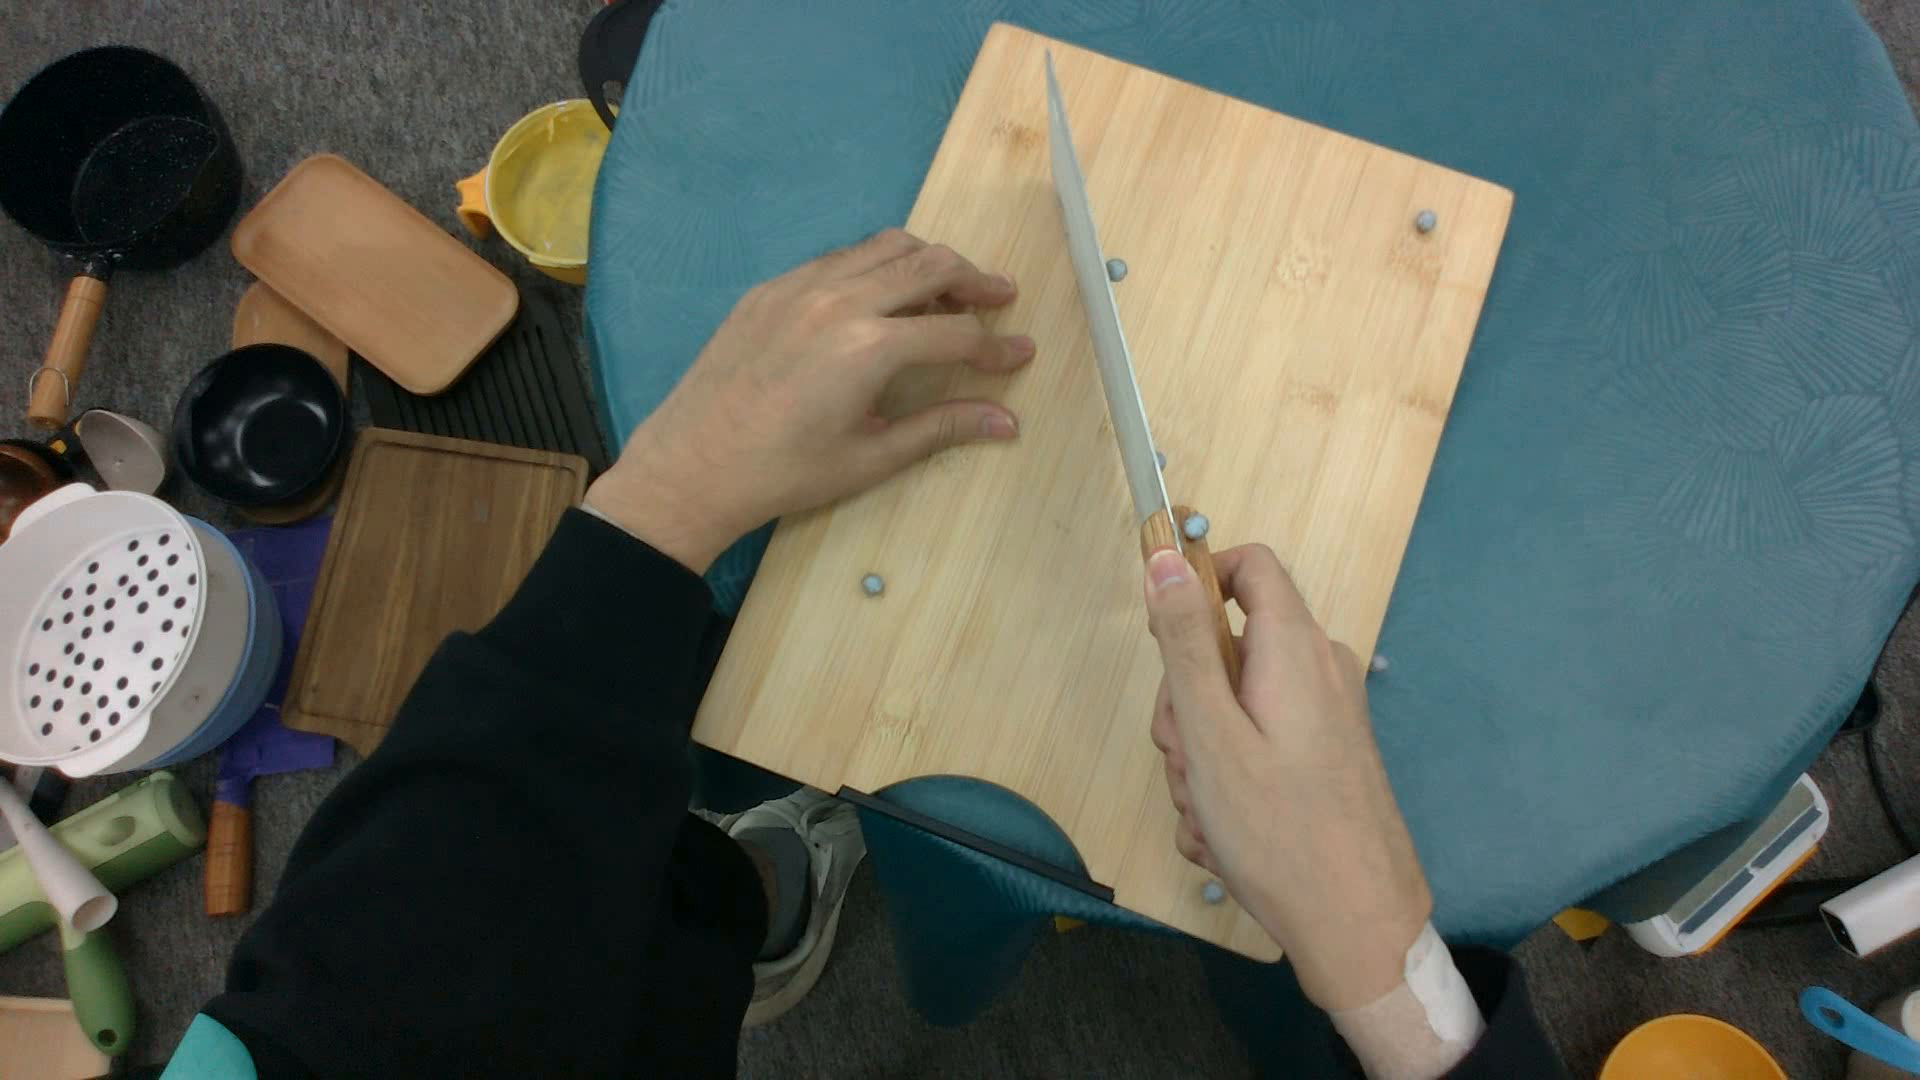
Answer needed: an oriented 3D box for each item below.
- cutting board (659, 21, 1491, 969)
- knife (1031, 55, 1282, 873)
[{"bbox_3d":[0.058,-0.034,0.571,0.250,0.023,0.349,19,75,4],"label":"cutting board"},{"bbox_3d":[0.062,-0.030,0.505,0.021,0.092,0.306,-13,73,0],"label":"knife"}]
